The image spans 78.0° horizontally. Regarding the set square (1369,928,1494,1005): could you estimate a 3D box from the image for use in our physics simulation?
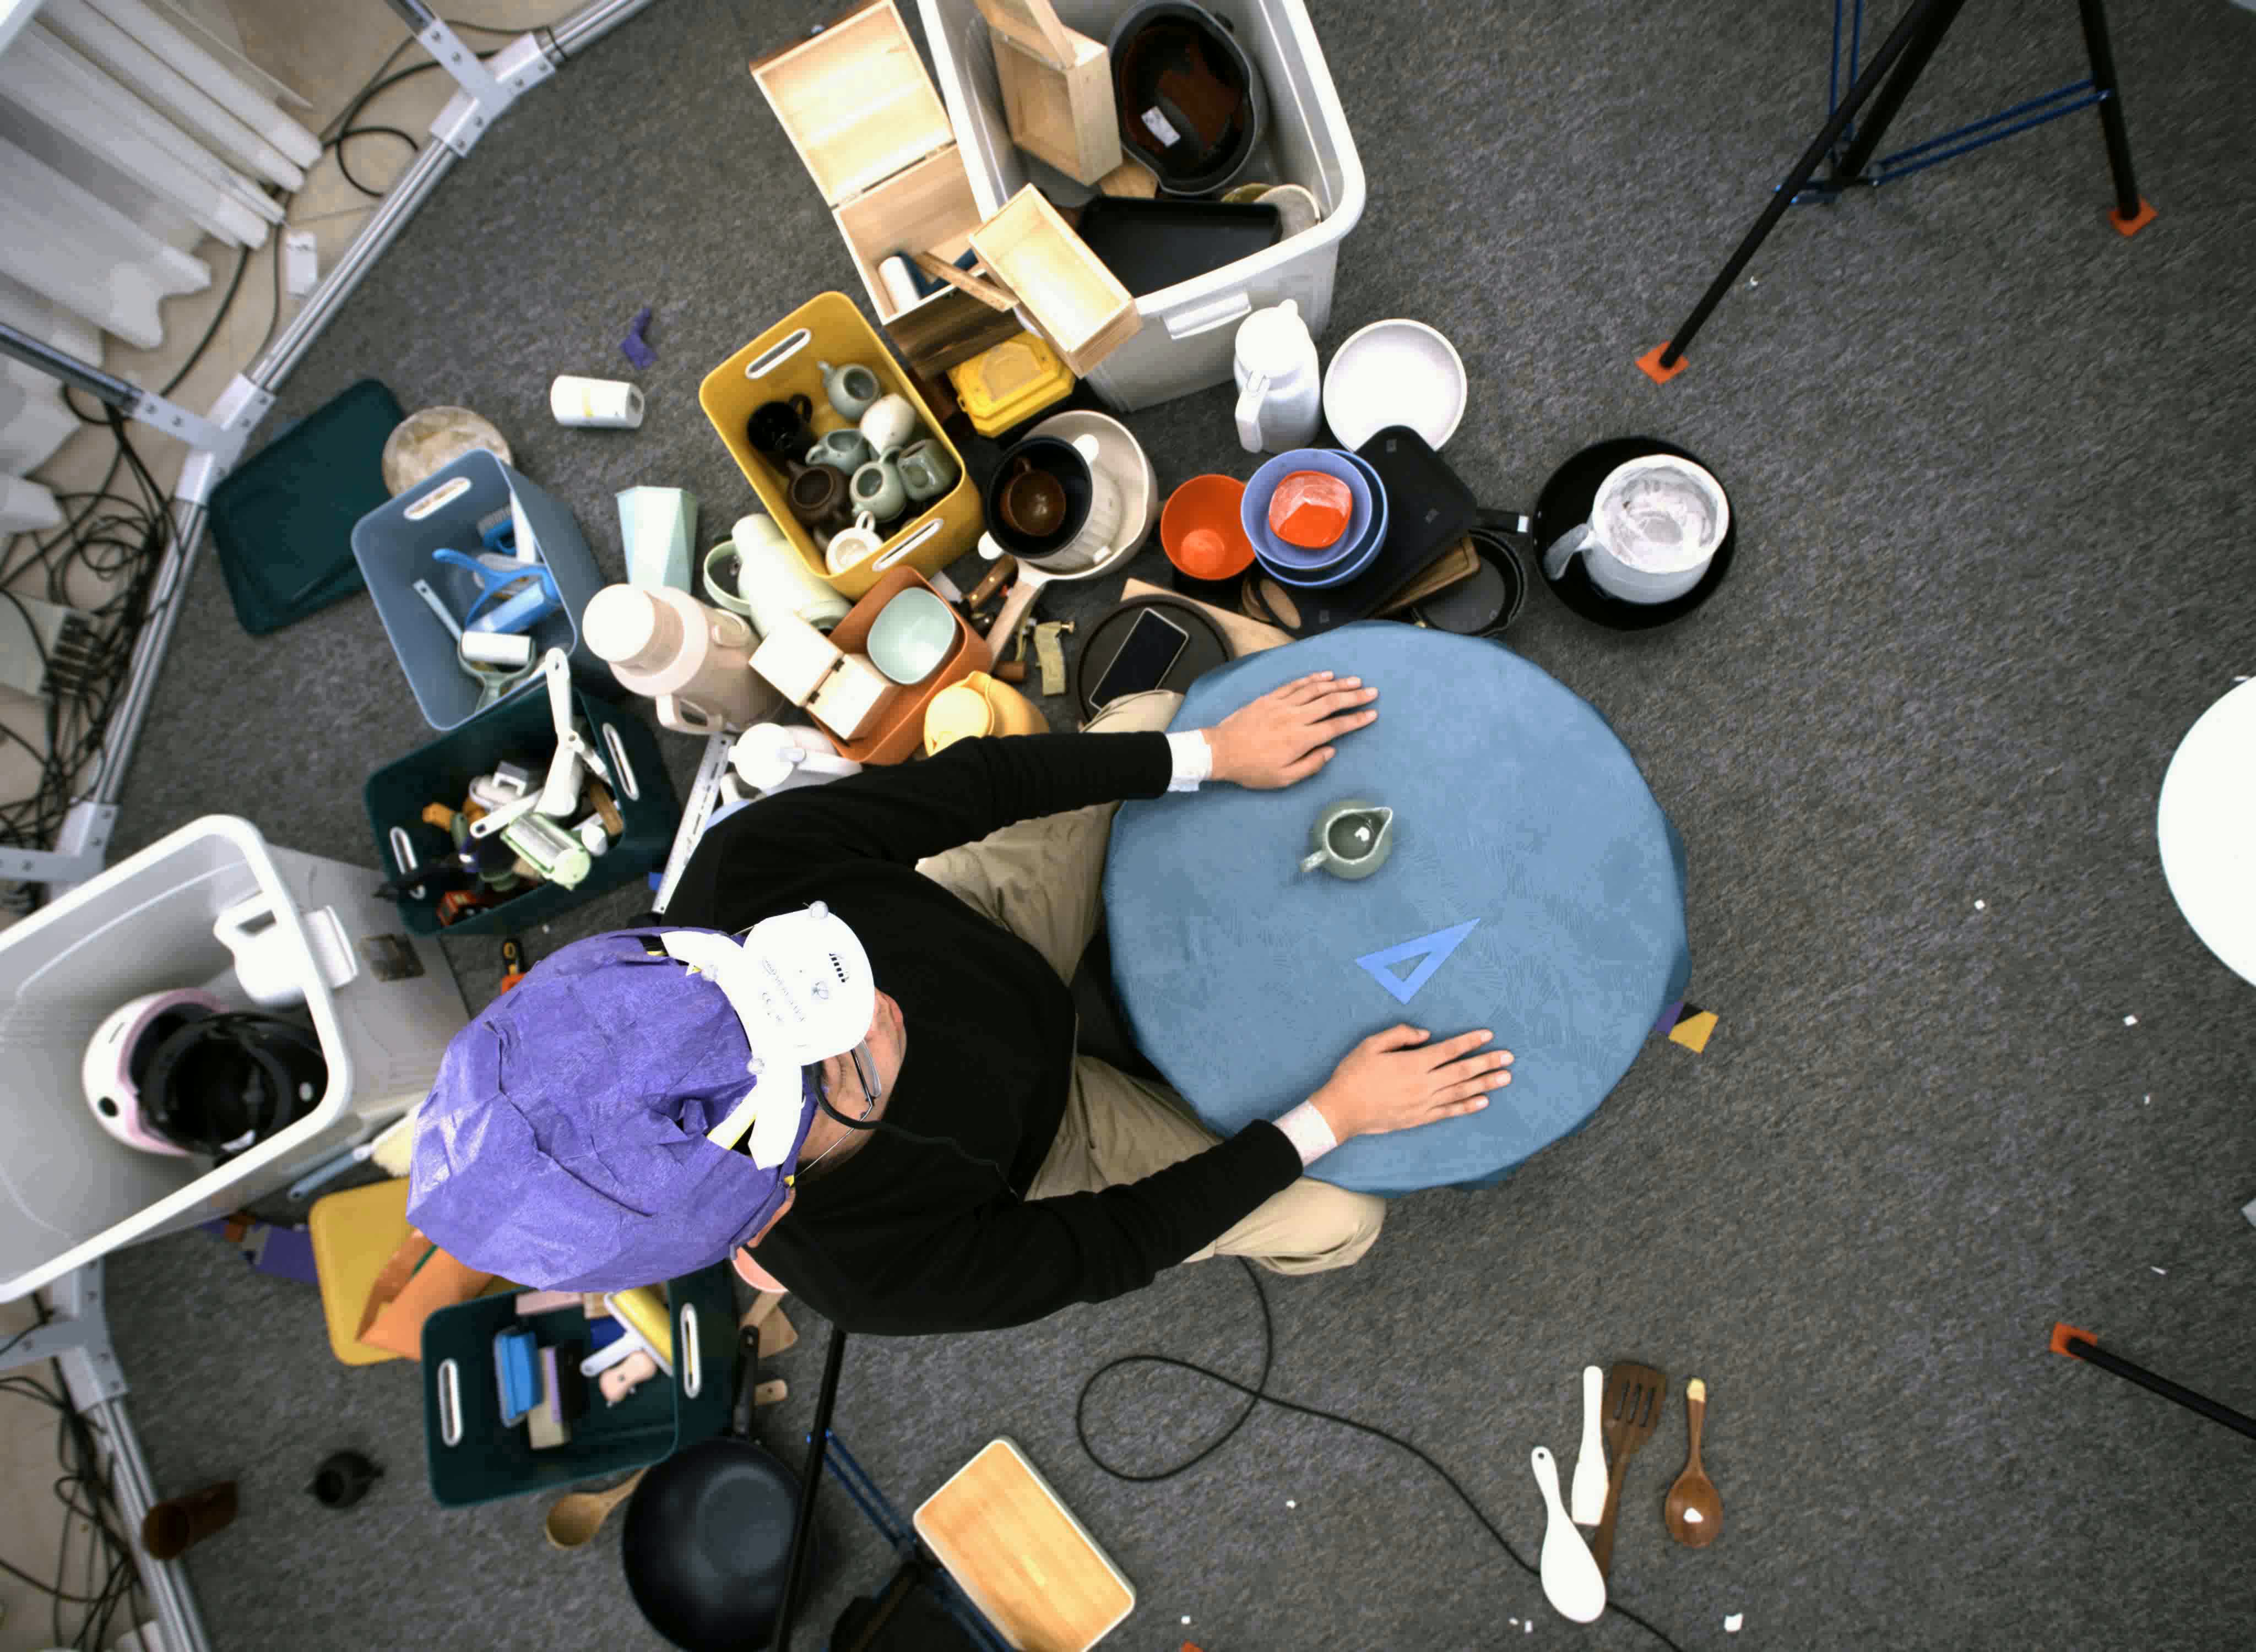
[{"bbox_3d":[0.324,0.147,1.444,0.133,0.006,0.061,-16,83,9],"label":"set square"}]

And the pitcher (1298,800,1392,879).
[{"bbox_3d":[0.228,0.015,1.443,0.113,0.056,0.083,-34,79,6],"label":"pitcher"}]
